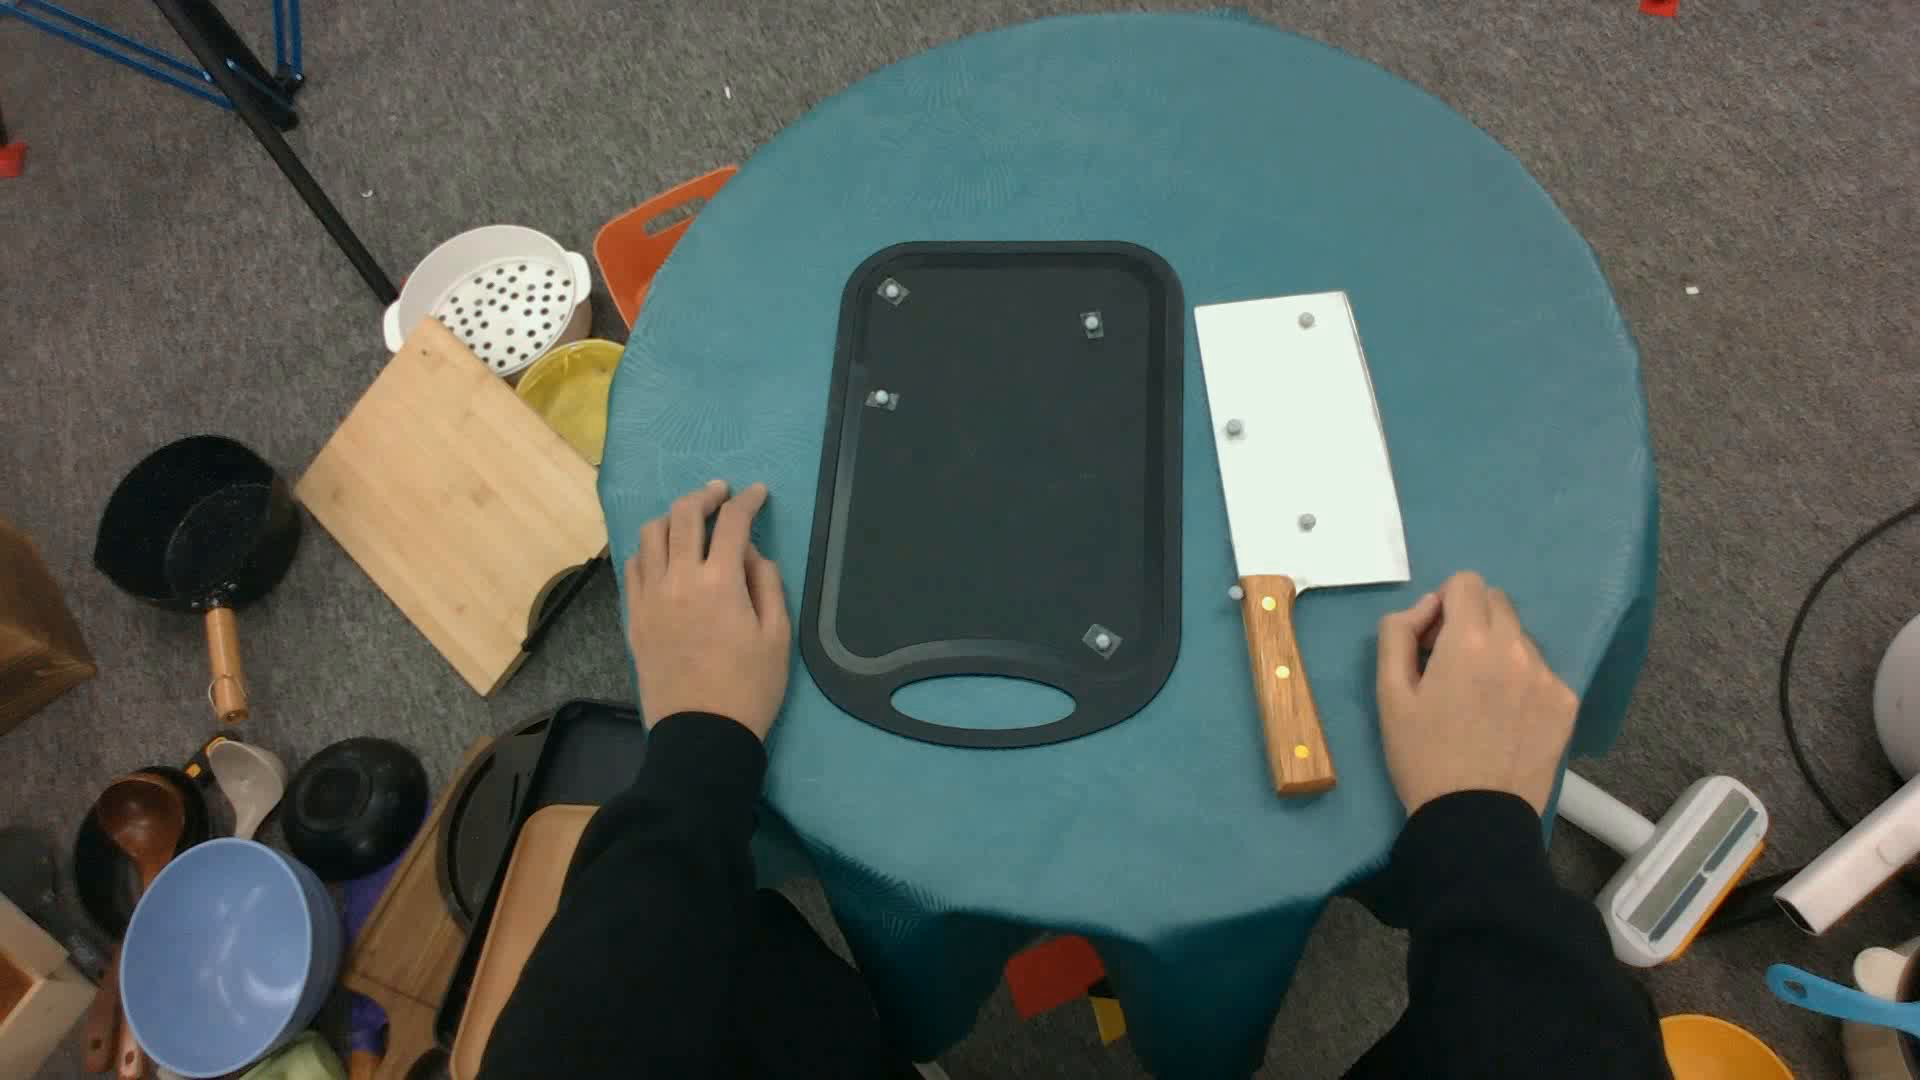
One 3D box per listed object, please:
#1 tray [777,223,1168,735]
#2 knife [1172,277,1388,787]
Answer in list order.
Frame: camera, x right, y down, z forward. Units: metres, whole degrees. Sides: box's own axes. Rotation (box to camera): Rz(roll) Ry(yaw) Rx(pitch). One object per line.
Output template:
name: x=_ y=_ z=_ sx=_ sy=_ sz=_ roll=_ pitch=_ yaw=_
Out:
tray: x=0.011 y=-0.047 z=0.783 sx=0.211 sy=0.010 sz=0.326 roll=2 pitch=66 yaw=6
knife: x=0.180 y=-0.018 z=0.750 sx=0.093 sy=0.021 sz=0.307 roll=-5 pitch=63 yaw=1
